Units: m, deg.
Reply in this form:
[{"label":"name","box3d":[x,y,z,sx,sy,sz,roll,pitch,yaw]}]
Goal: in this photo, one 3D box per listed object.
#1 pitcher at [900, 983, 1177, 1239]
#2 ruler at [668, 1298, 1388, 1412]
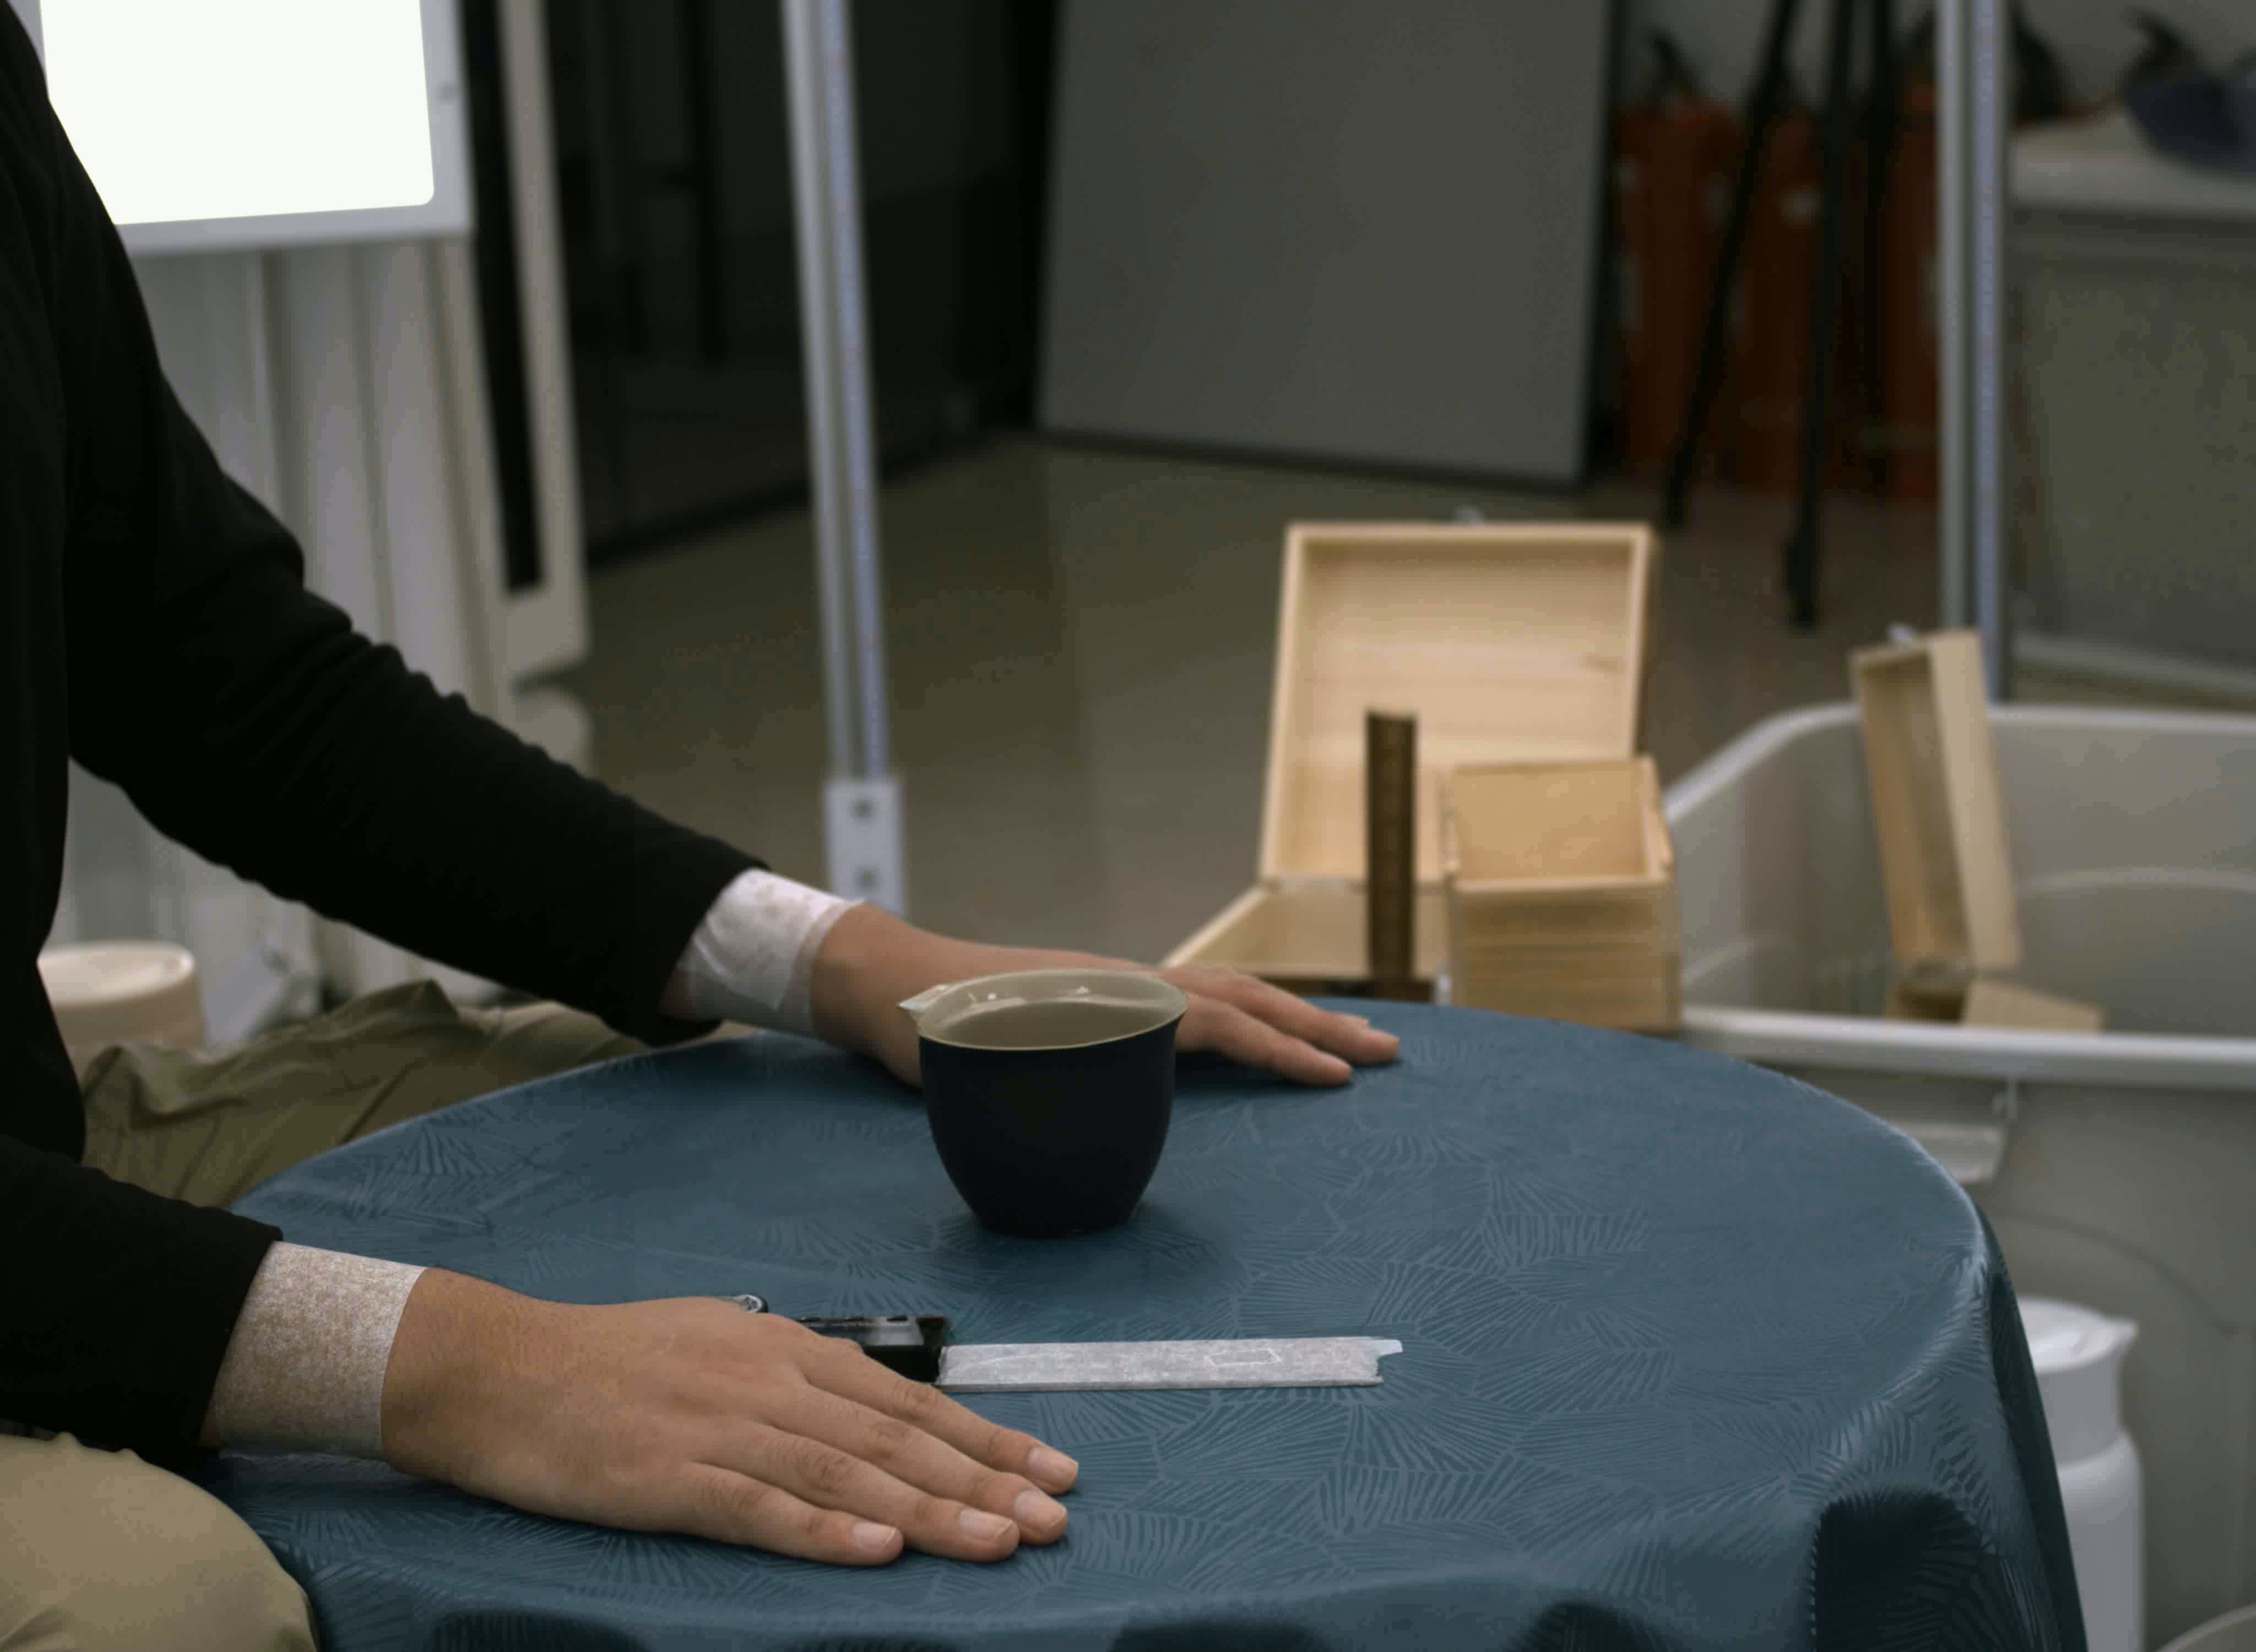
[{"label":"pitcher","box3d":[-0.029,0.091,1.746,0.096,0.072,0.082,4,17,29]},{"label":"ruler","box3d":[-0.031,0.153,1.603,0.216,0.024,0.038,-3,20,9]}]
